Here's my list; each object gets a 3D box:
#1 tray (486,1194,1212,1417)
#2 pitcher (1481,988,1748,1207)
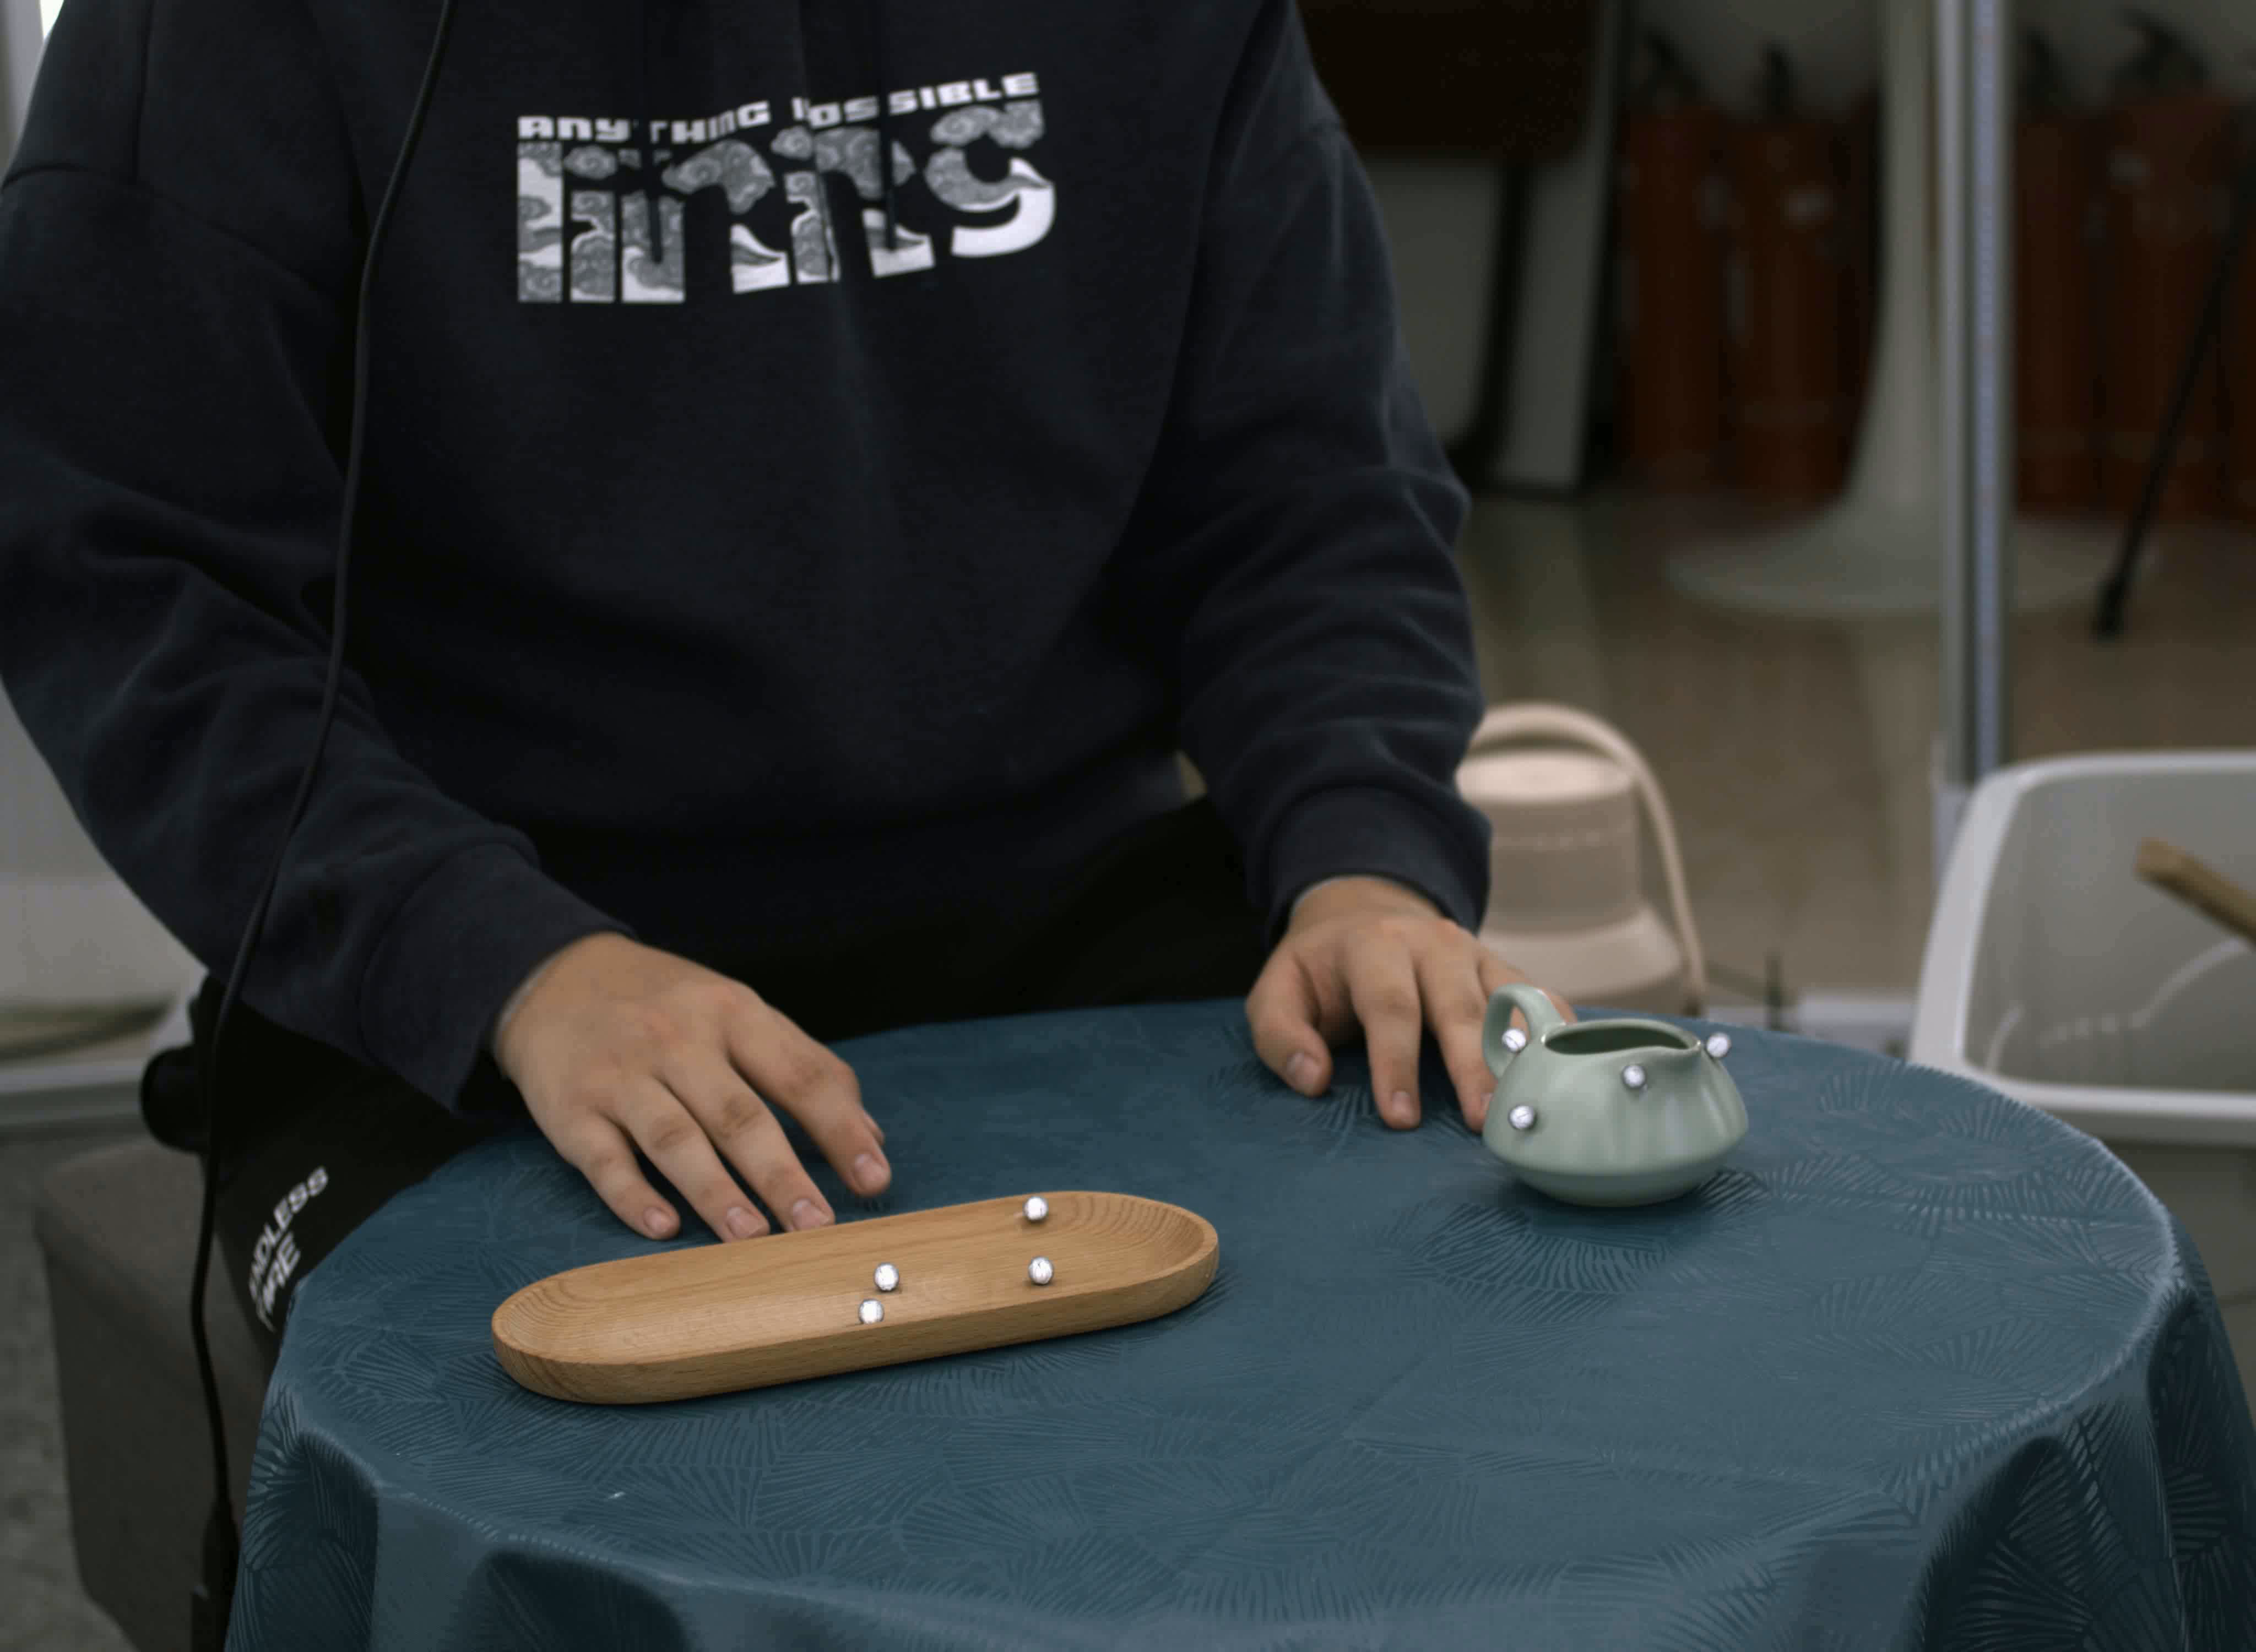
[{"bbox_3d":[-0.084,0.147,1.660,0.226,0.020,0.102,-10,14,-17],"label":"tray"},{"bbox_3d":[0.151,0.088,1.750,0.084,0.061,0.109,-12,13,-34],"label":"pitcher"}]
